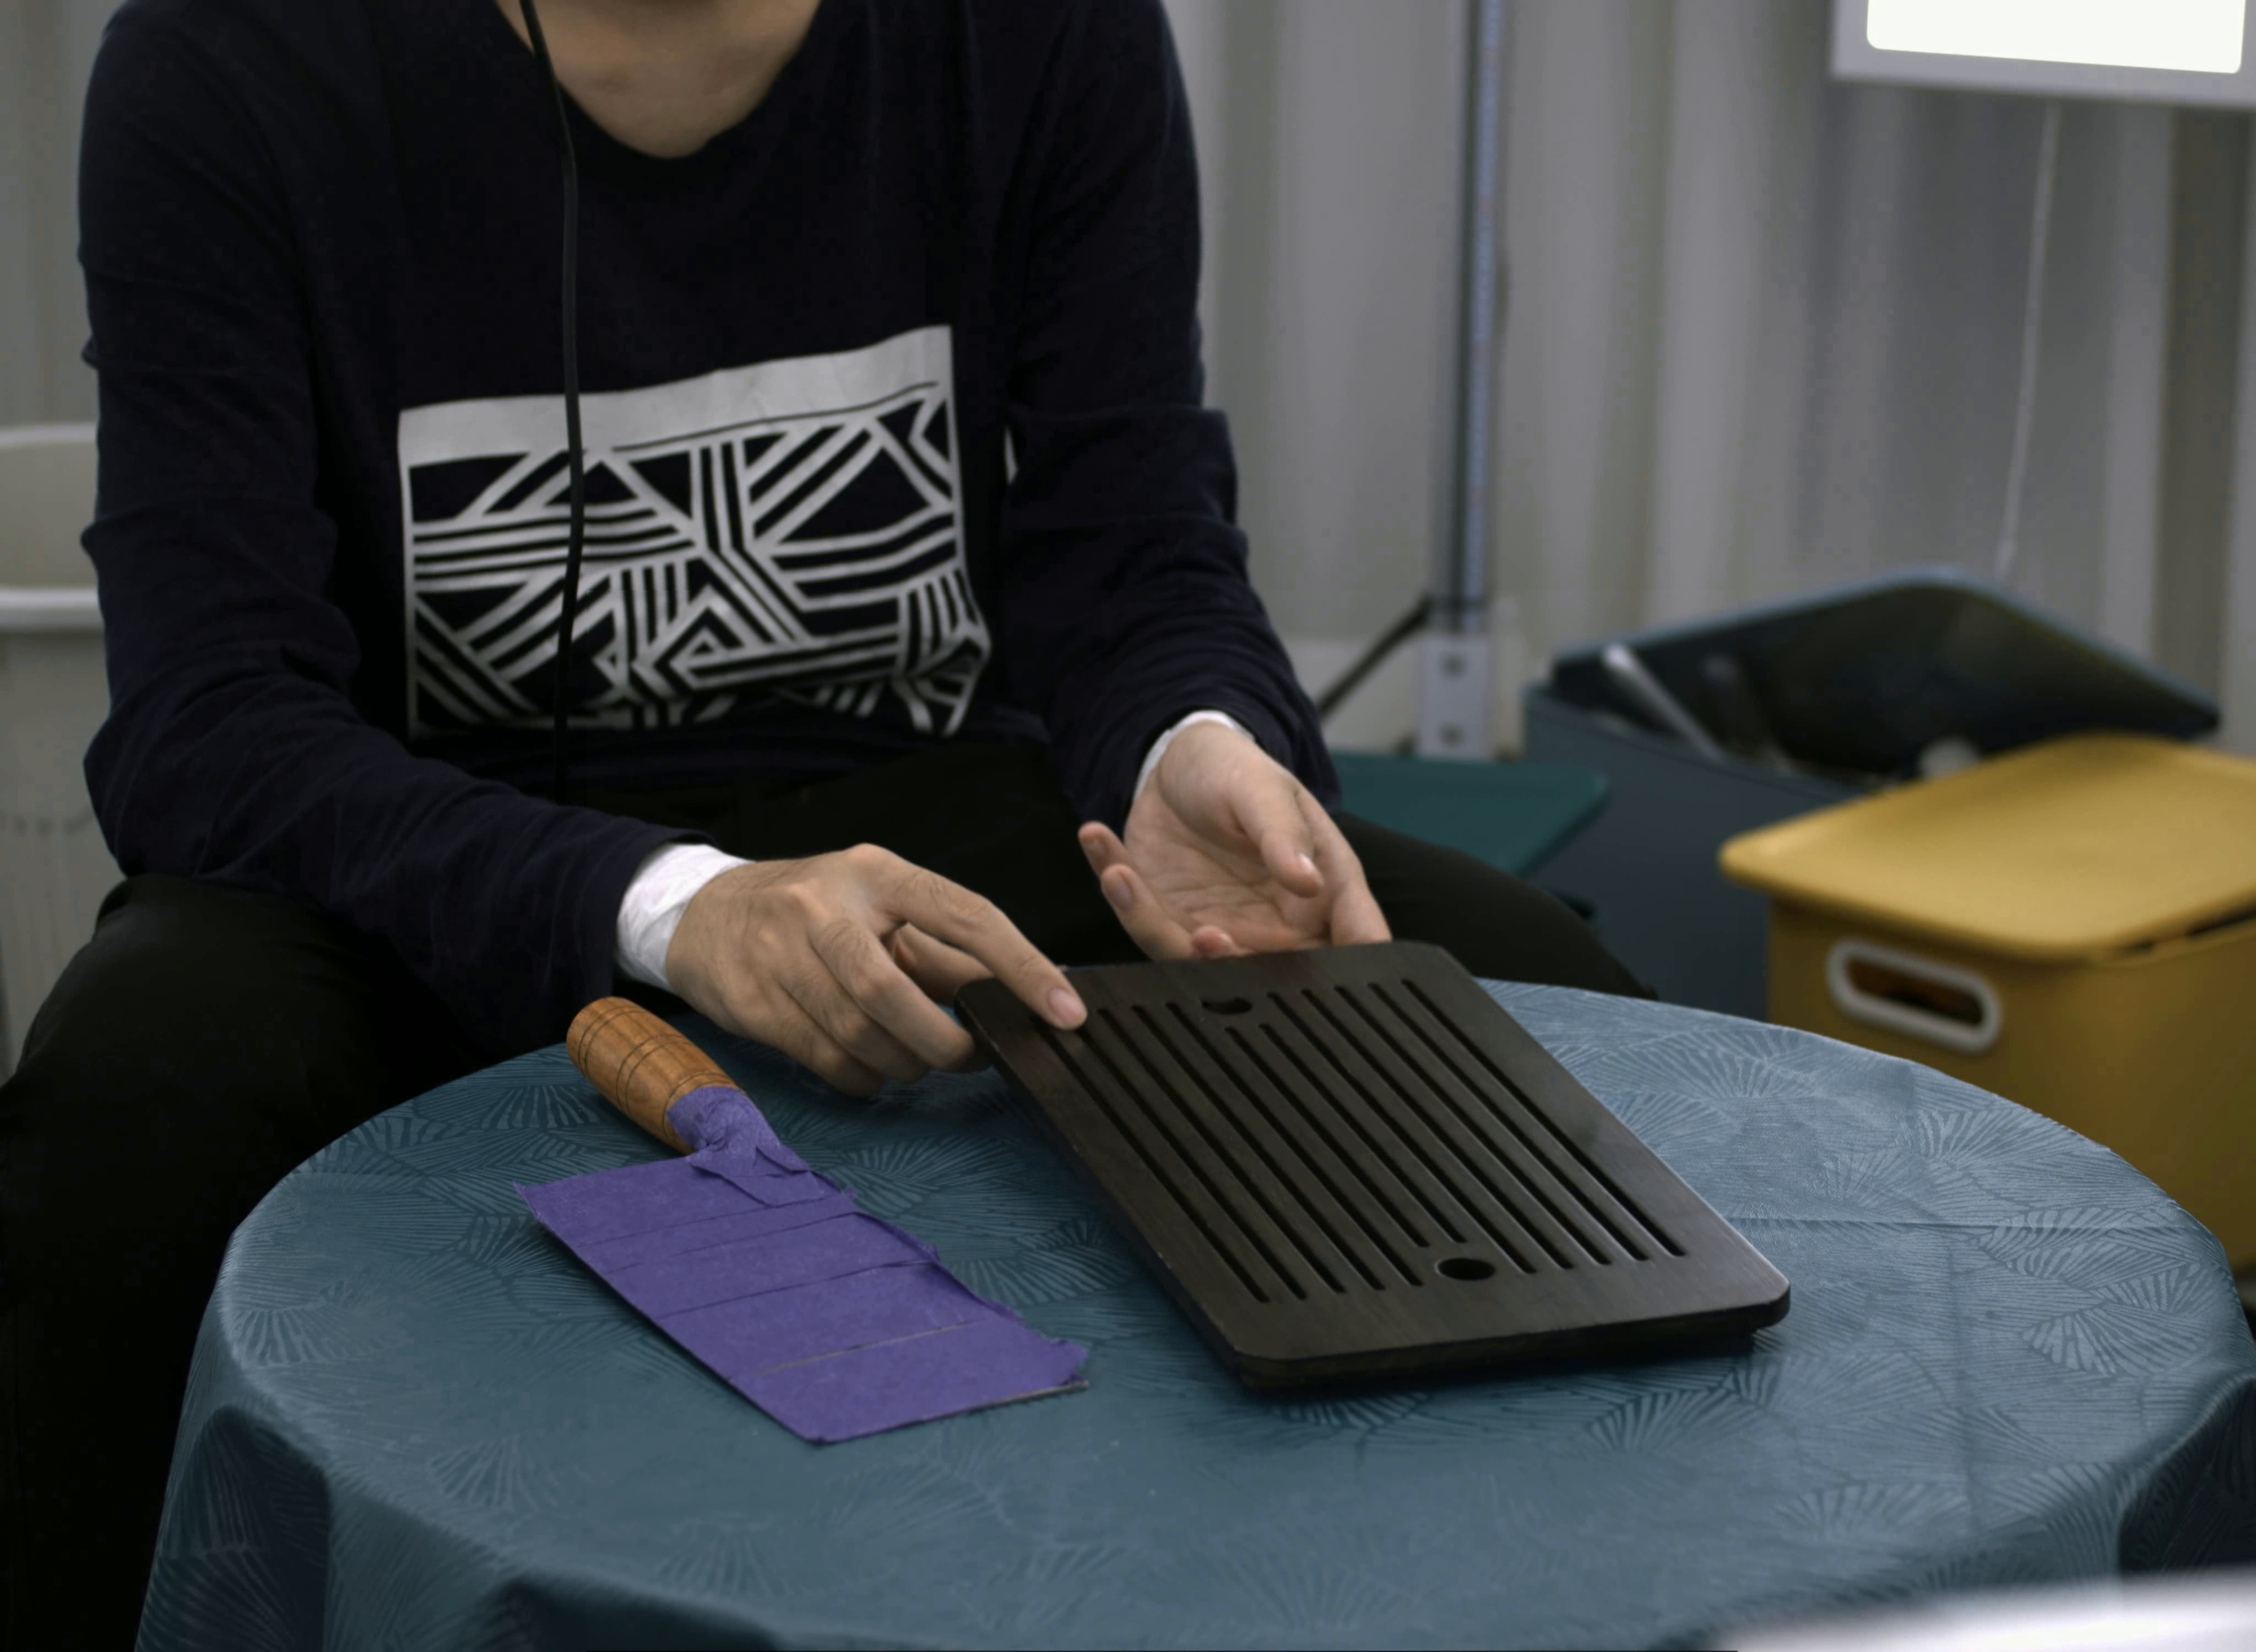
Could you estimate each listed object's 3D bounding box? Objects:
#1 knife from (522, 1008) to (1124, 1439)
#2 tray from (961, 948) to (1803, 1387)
[{"bbox_3d":[-0.121,0.114,1.564,0.104,0.032,0.311,-8,18,-29],"label":"knife"},{"bbox_3d":[0.069,0.100,1.606,0.170,0.019,0.302,-5,19,-18],"label":"tray"}]
